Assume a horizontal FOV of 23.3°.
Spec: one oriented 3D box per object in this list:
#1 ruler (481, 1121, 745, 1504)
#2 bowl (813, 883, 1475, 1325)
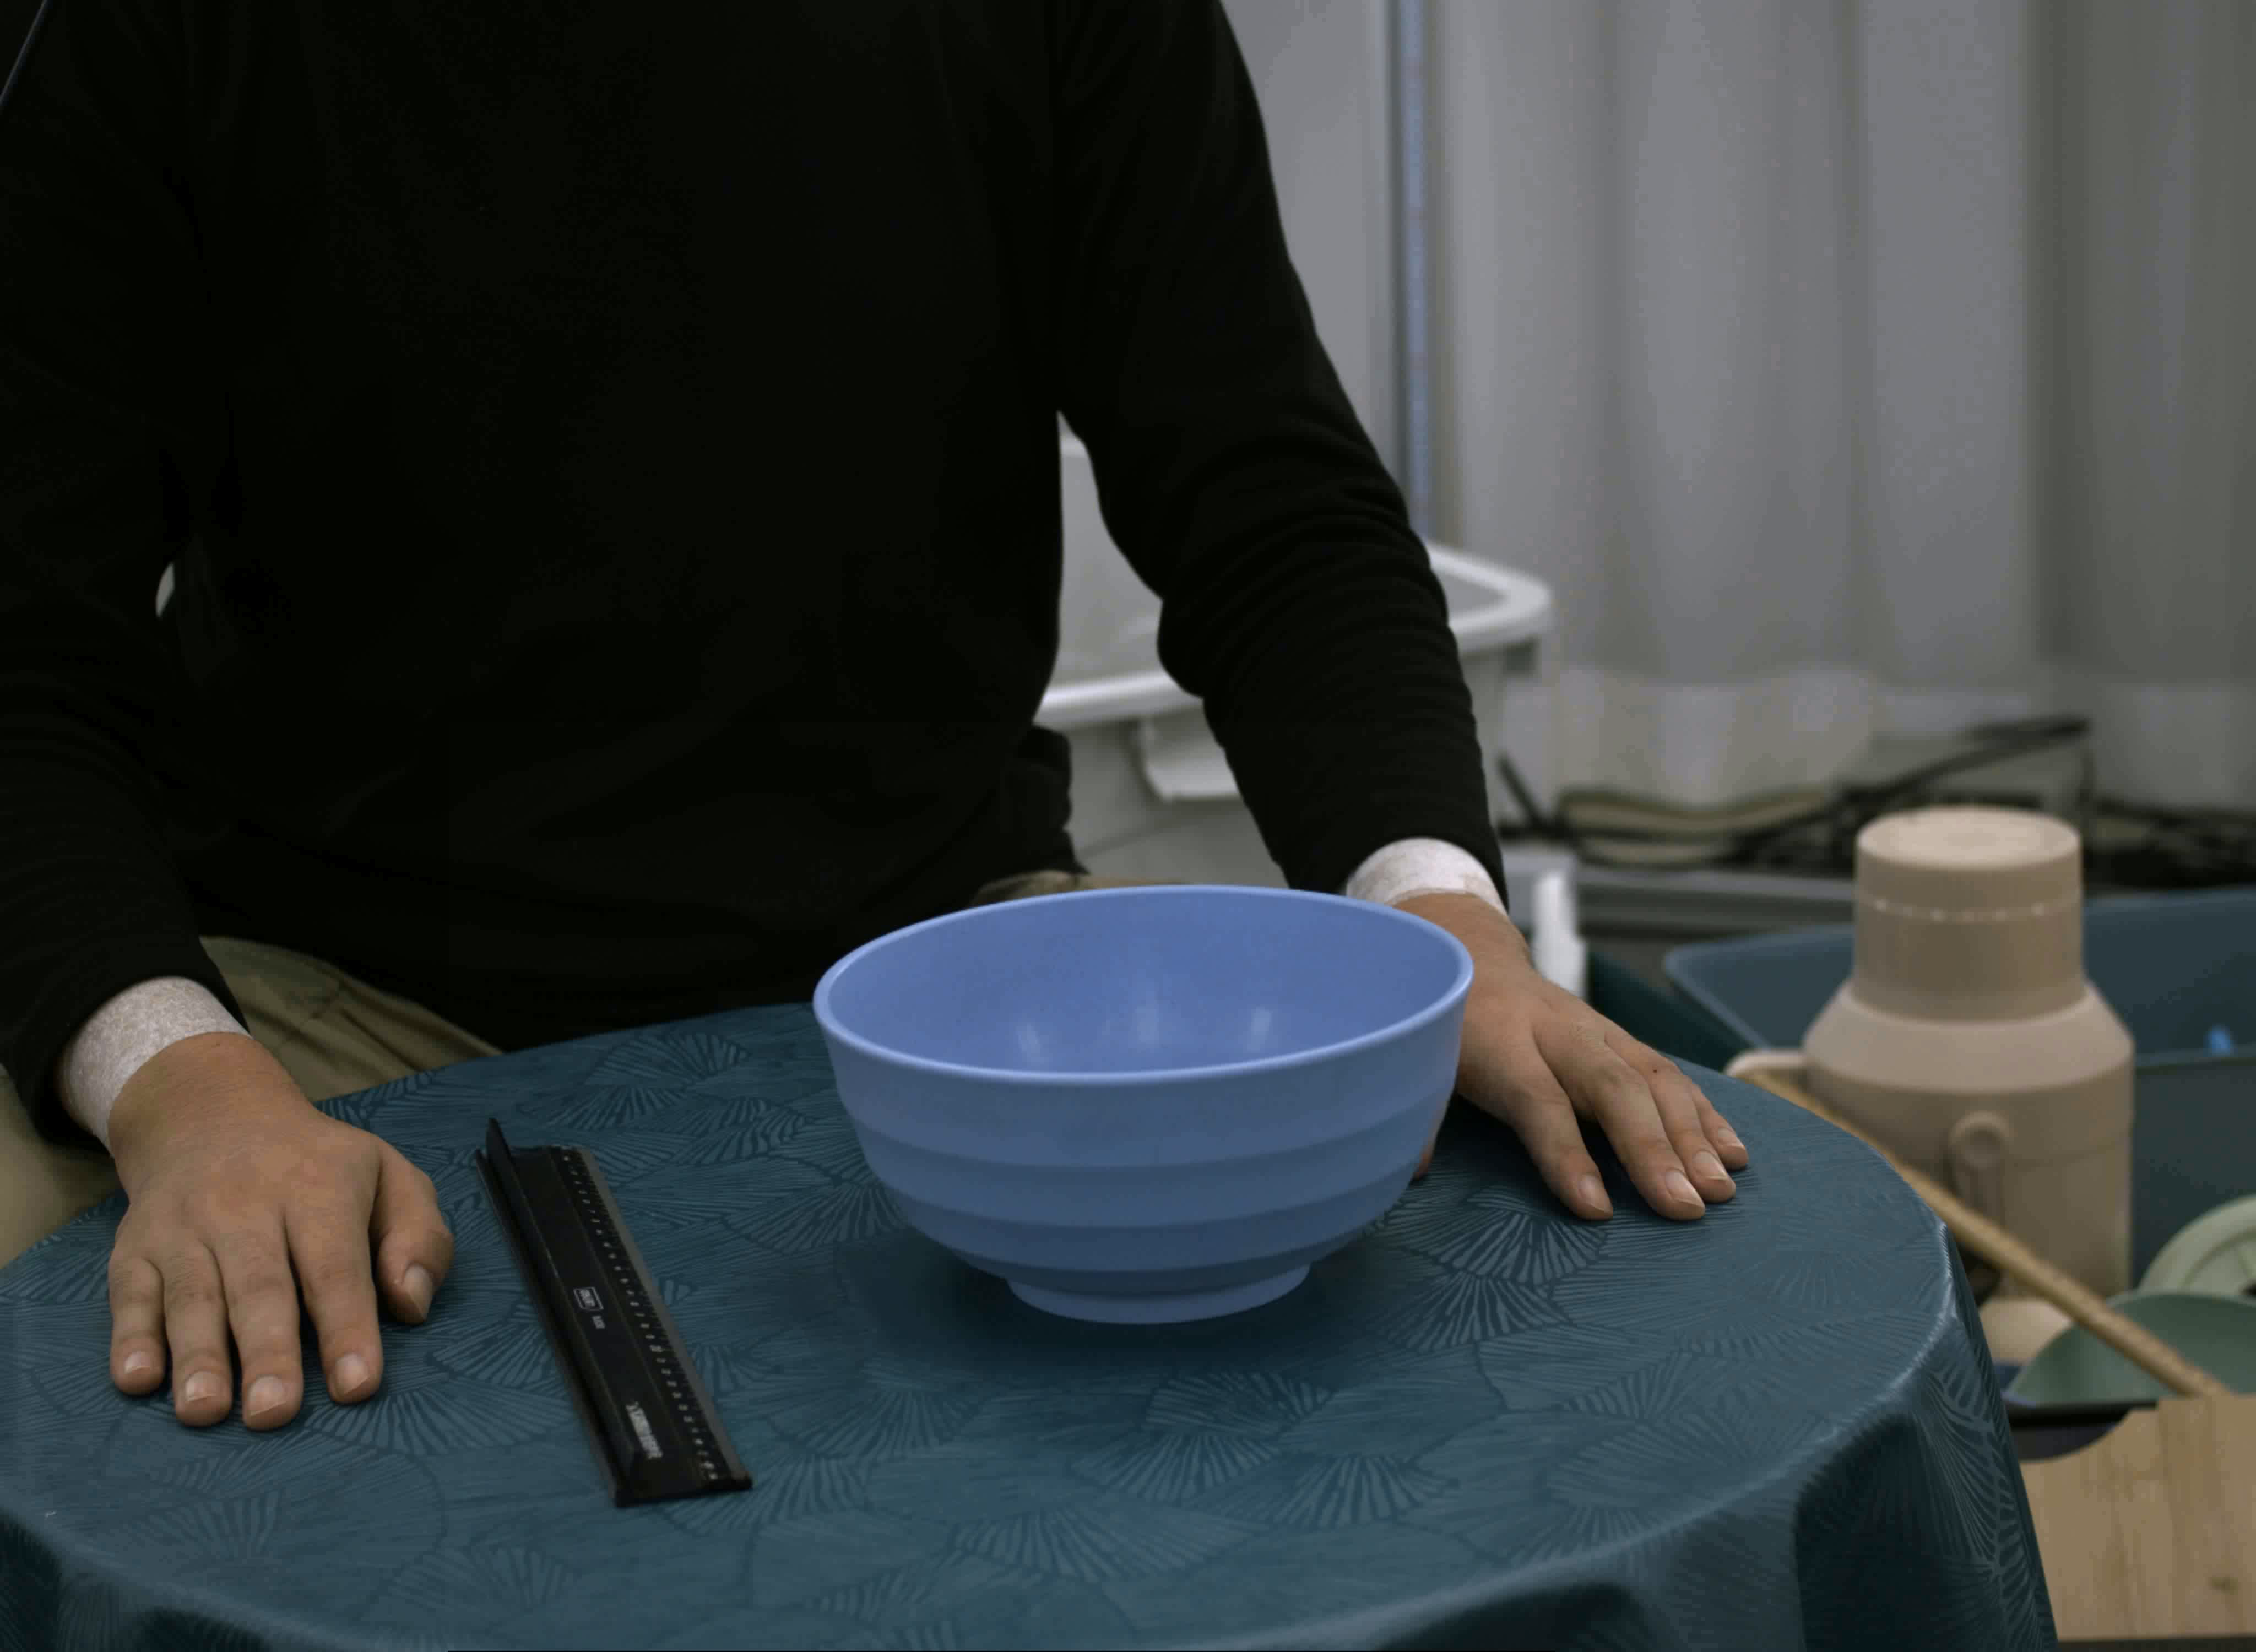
[{"bbox_3d":[-0.156,0.138,1.626,0.039,0.017,0.315,-2,14,-13],"label":"ruler"},{"bbox_3d":[0.006,0.089,1.627,0.196,0.095,0.198,-2,15,0],"label":"bowl"}]
